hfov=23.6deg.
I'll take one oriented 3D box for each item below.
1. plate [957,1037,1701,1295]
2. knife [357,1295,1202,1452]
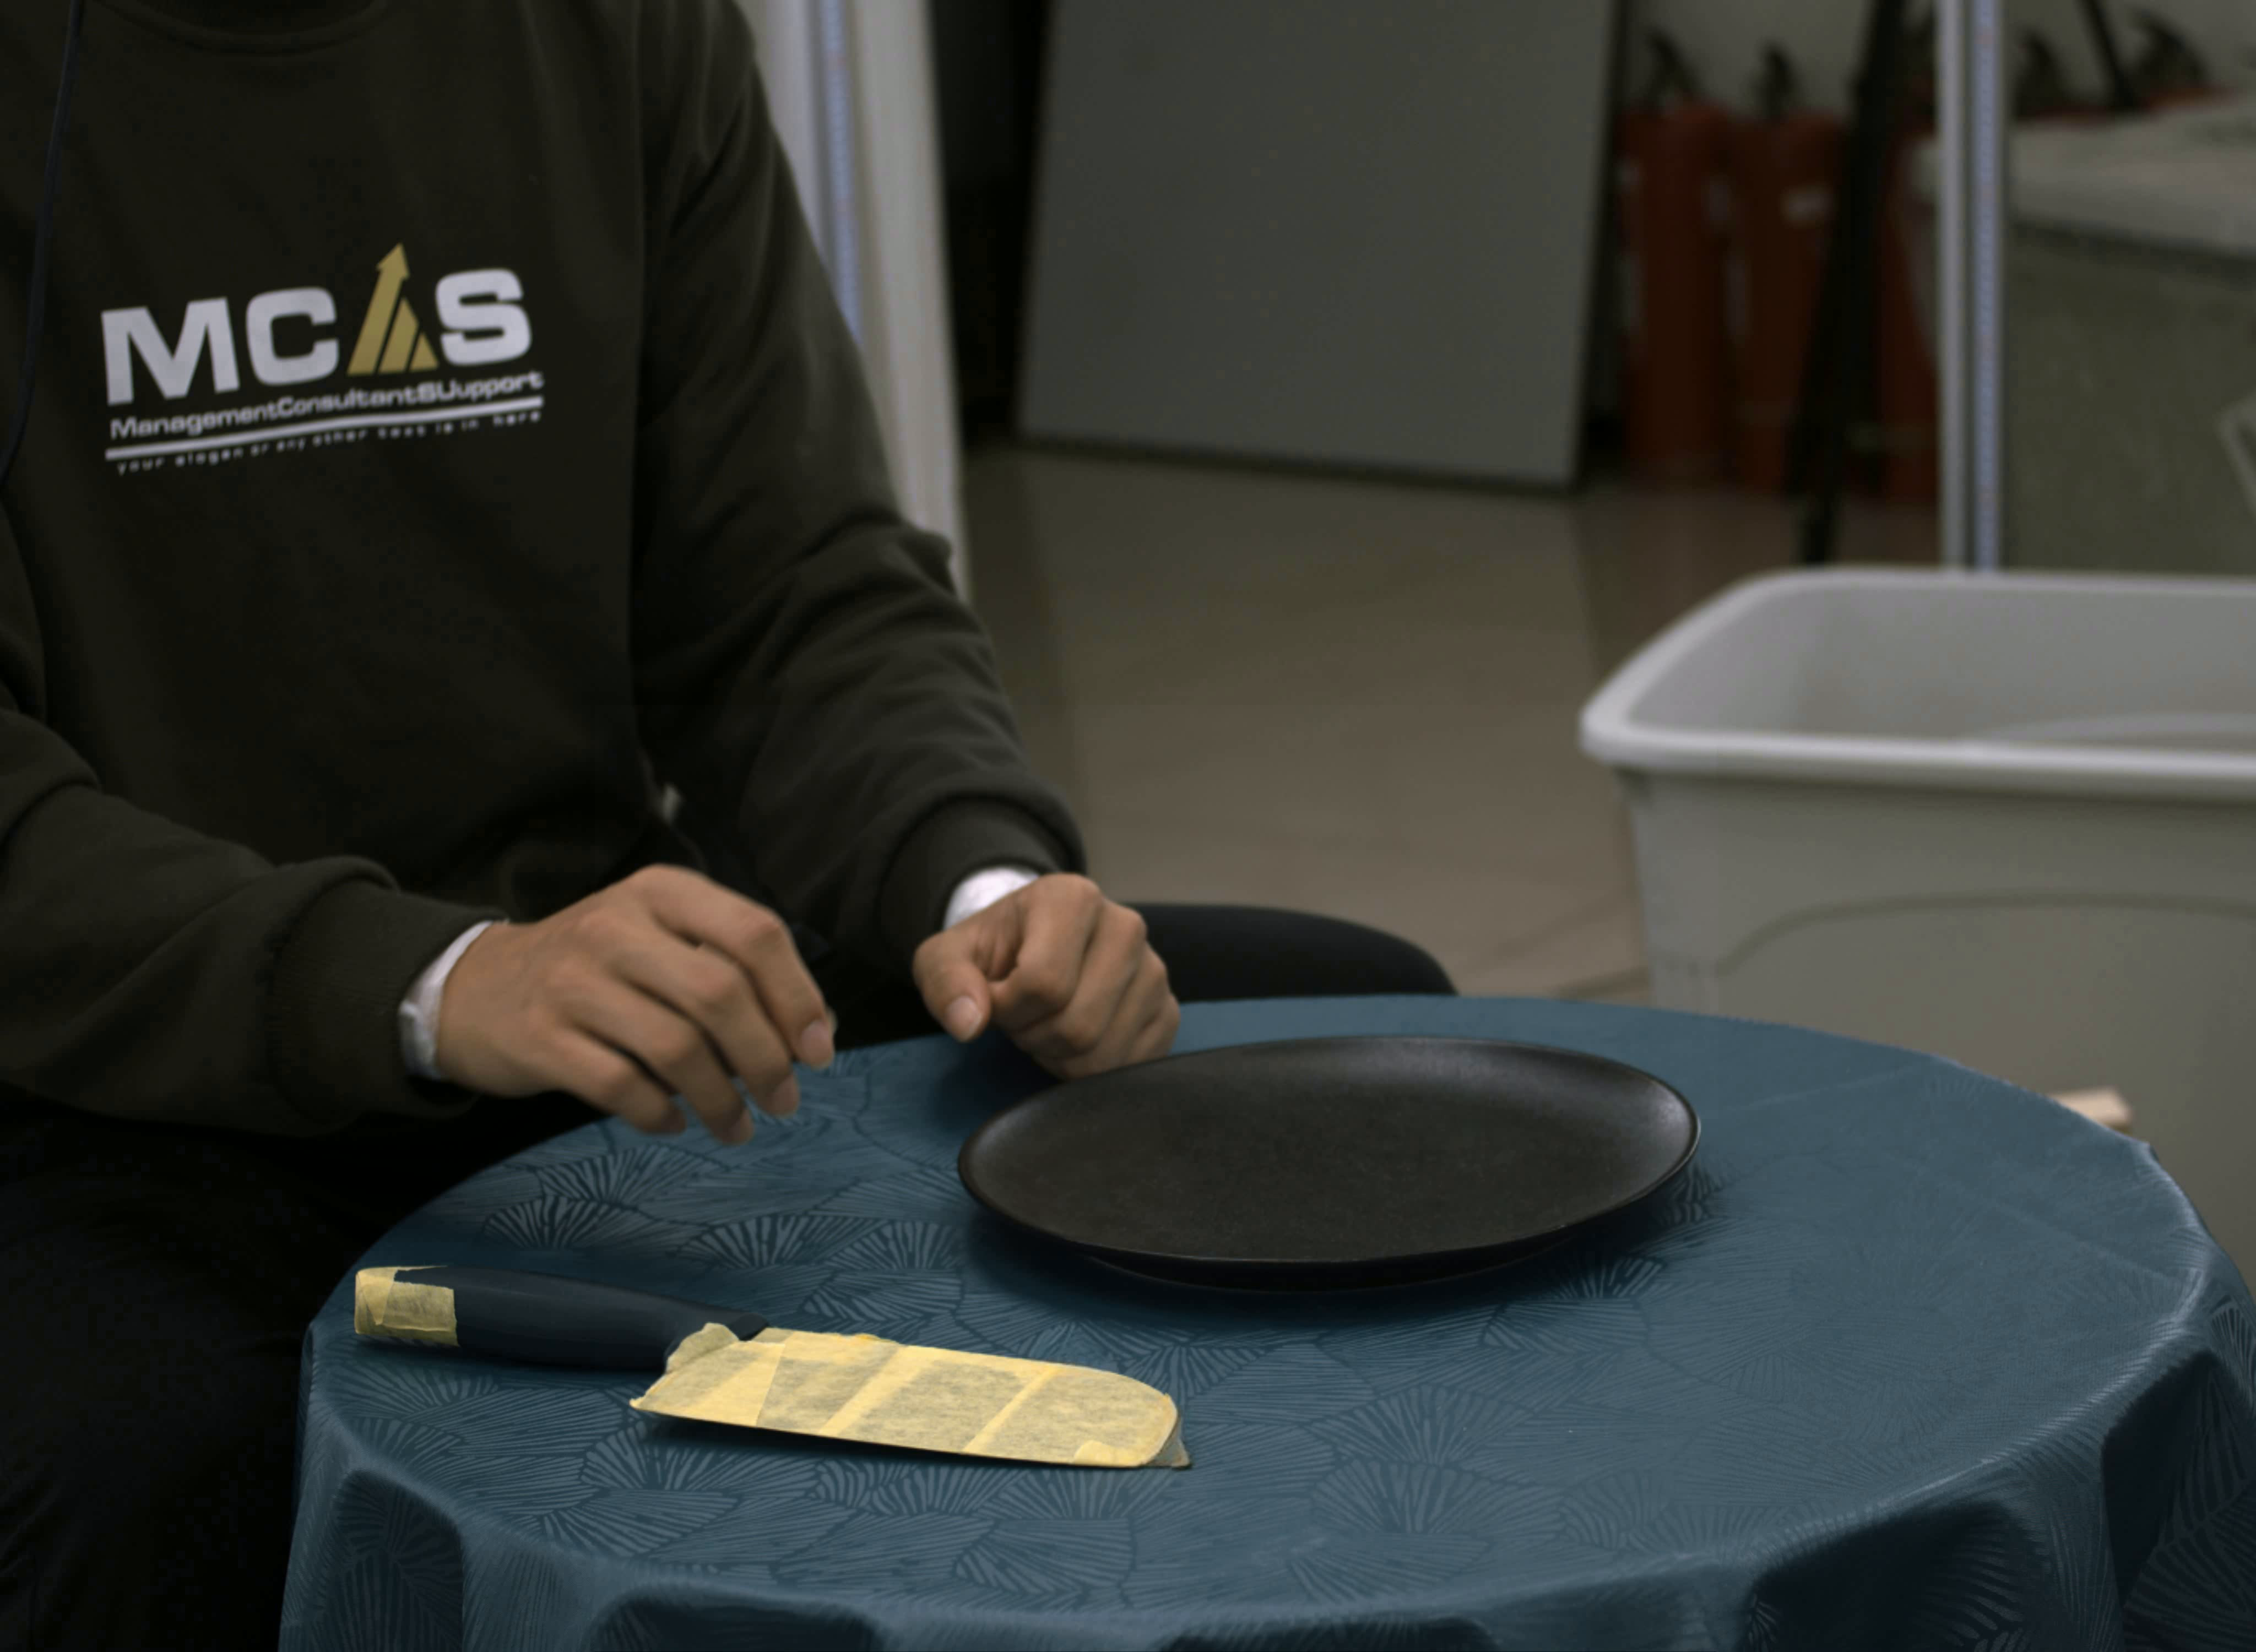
[{"bbox_3d":[0.065,0.112,1.743,0.241,0.024,0.245,-4,13,0],"label":"plate"},{"bbox_3d":[-0.110,0.165,1.597,0.290,0.027,0.080,3,14,25],"label":"knife"}]
